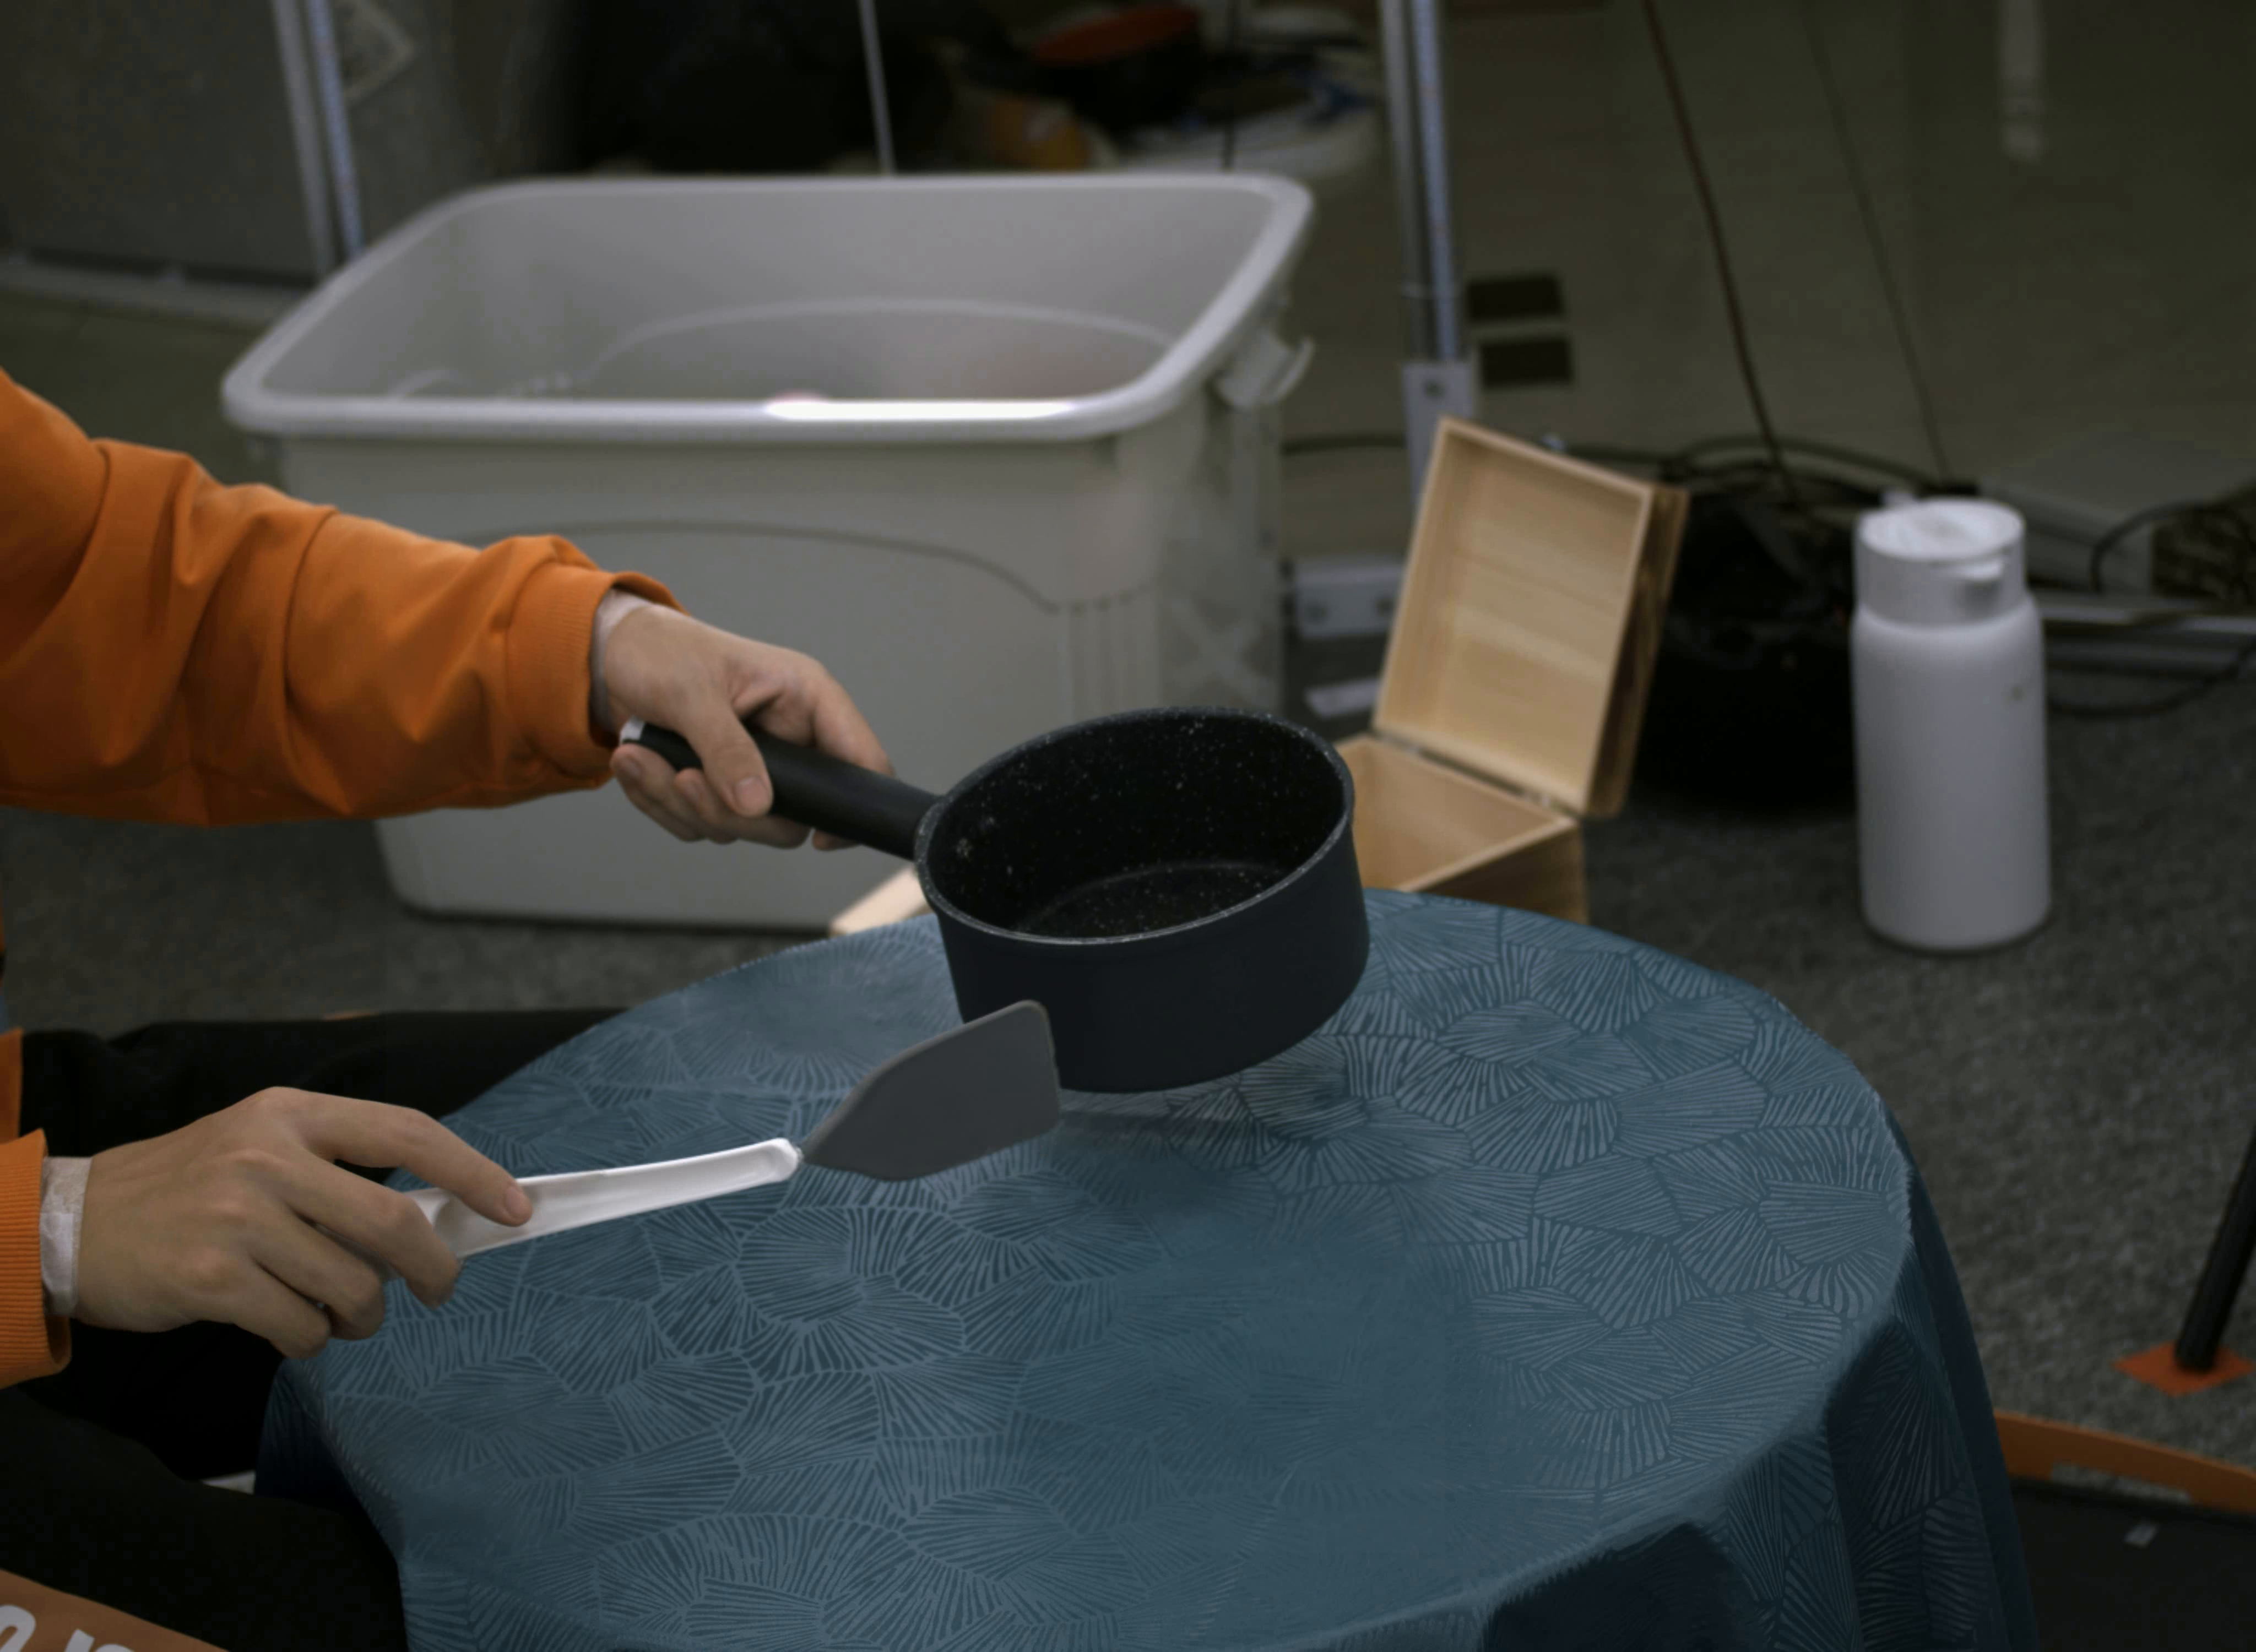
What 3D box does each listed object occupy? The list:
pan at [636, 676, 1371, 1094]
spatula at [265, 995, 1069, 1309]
[{"bbox_3d":[-0.056,0.012,2.230,0.327,0.088,0.170,14,39,33],"label":"pan"},{"bbox_3d":[-0.156,0.118,1.974,0.287,0.059,0.032,-13,18,-13],"label":"spatula"}]
